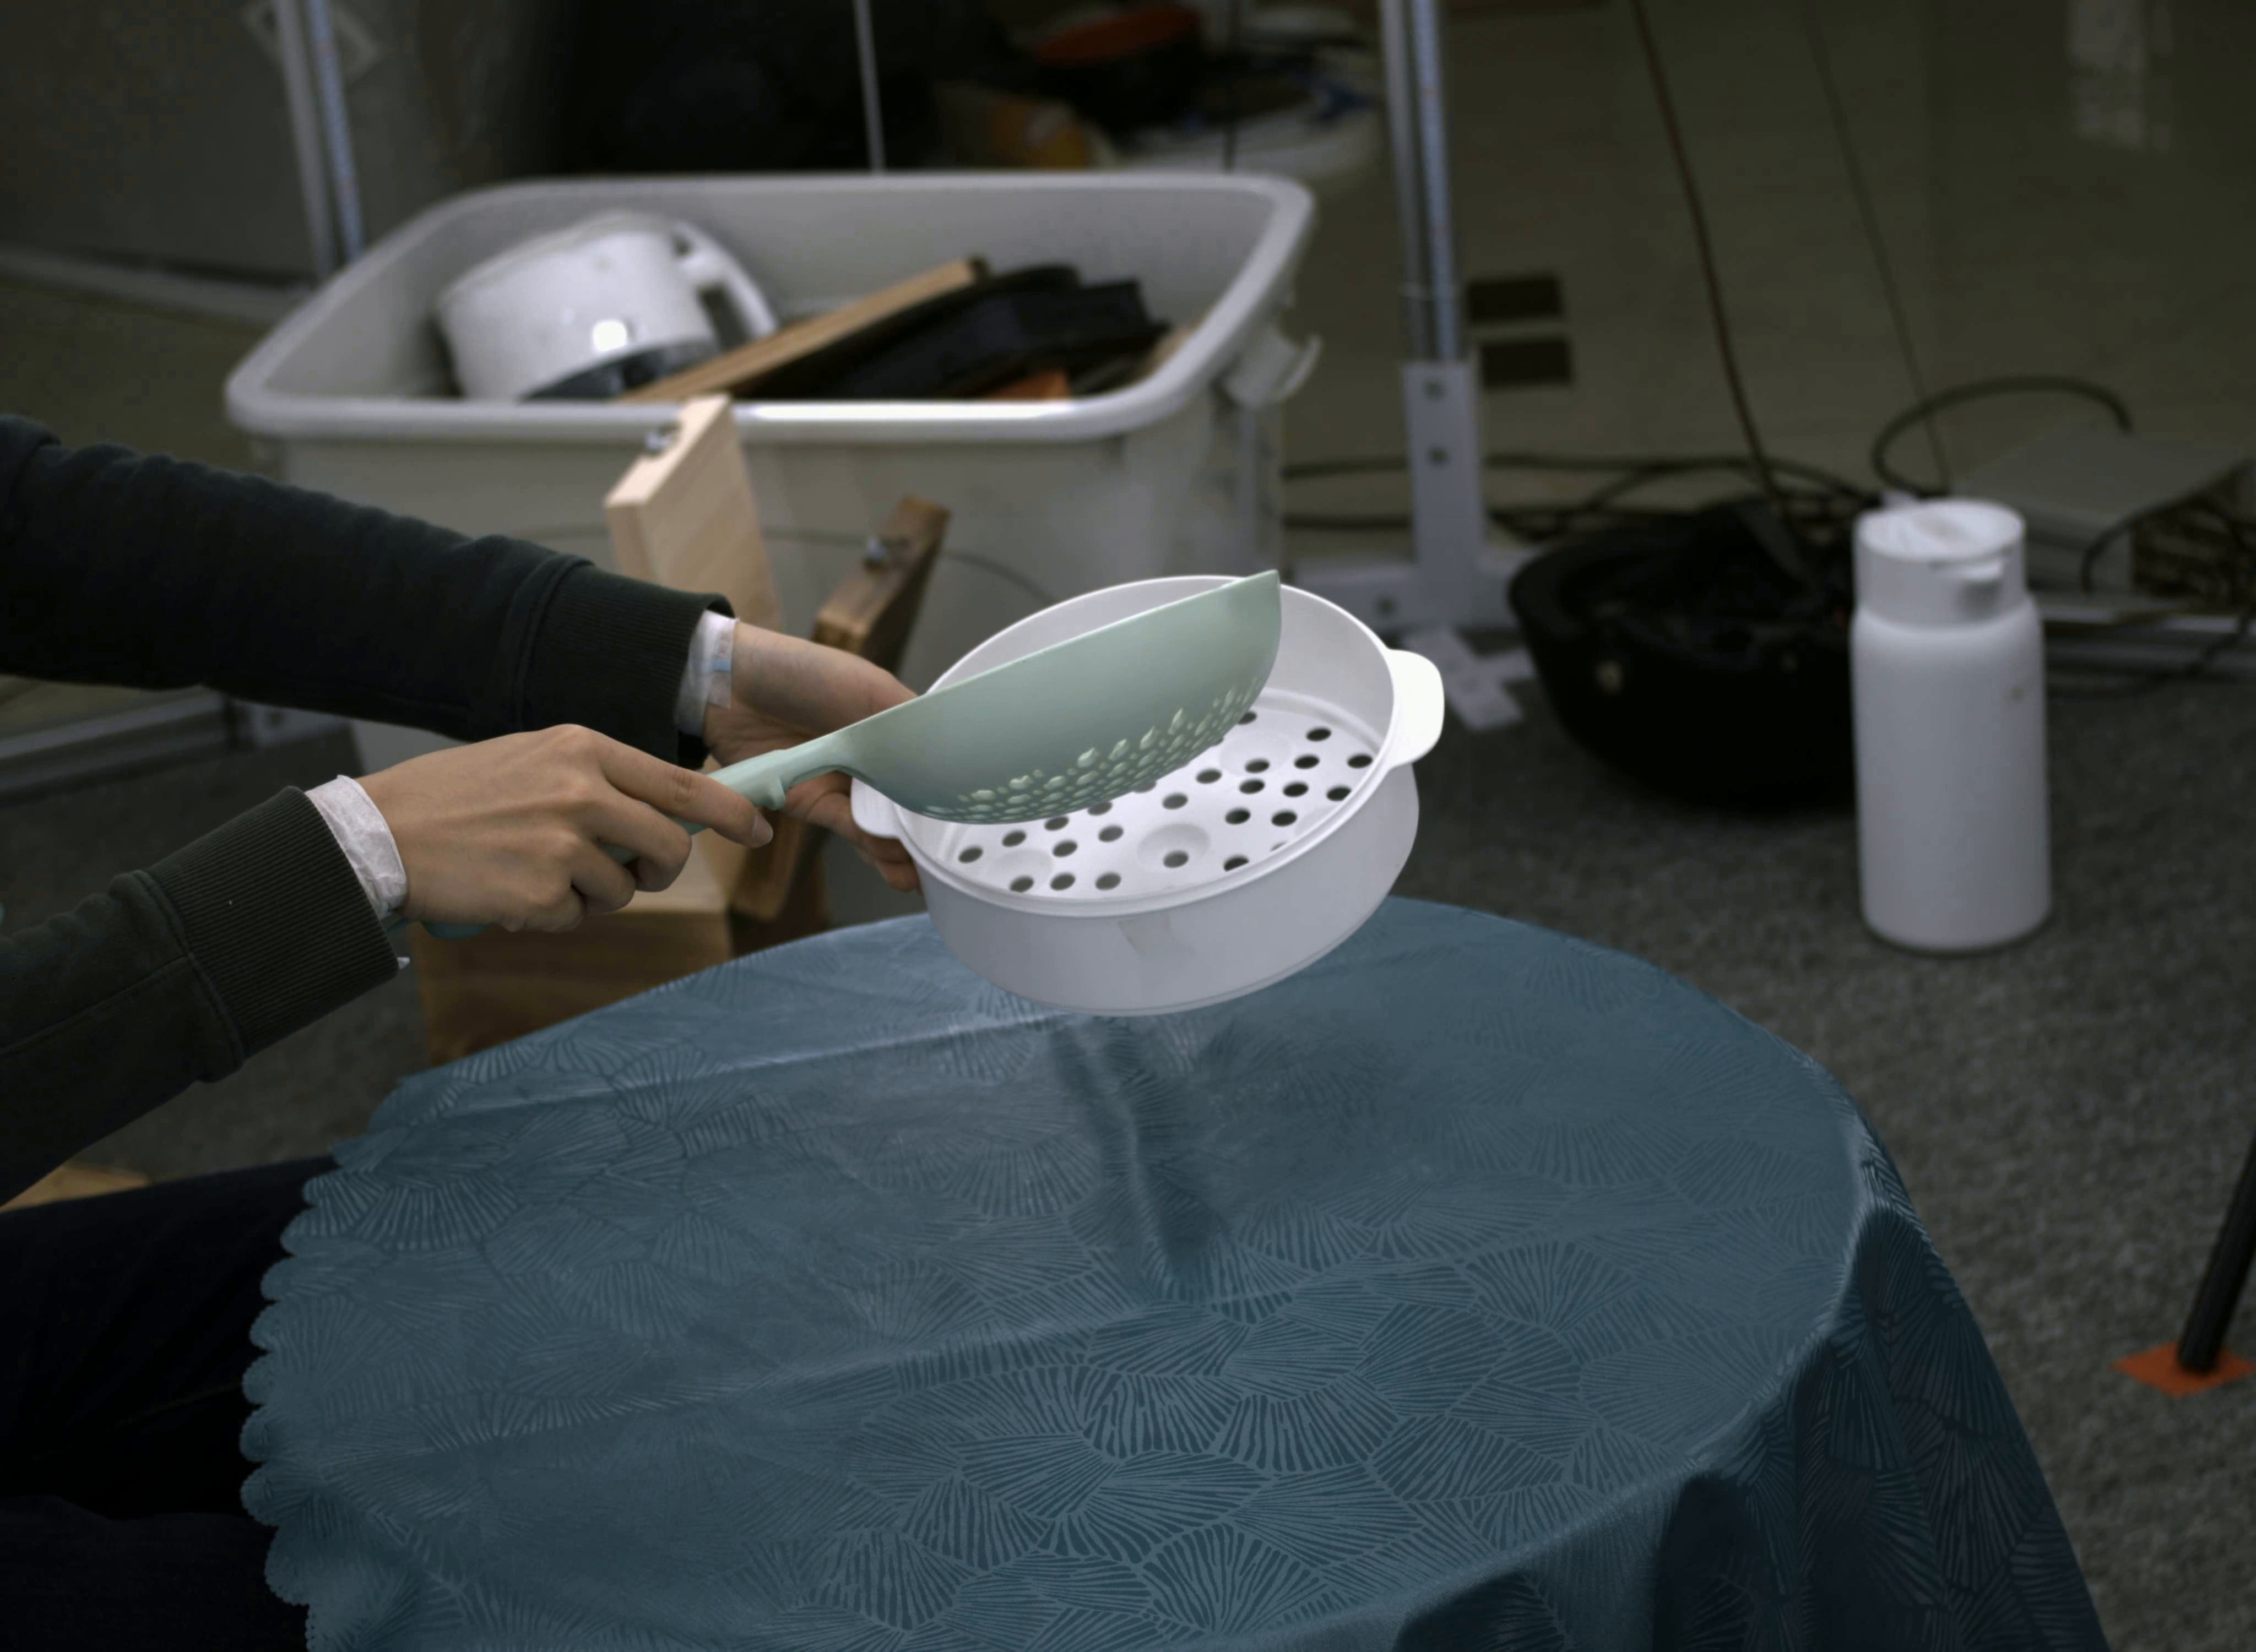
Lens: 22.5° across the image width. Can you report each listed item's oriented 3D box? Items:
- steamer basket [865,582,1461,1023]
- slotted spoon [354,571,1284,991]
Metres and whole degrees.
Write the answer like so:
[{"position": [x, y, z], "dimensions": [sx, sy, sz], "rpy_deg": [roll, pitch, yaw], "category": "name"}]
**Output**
[{"position": [0.018, -0.009, 2.163], "dimensions": [0.230, 0.070, 0.198], "rpy_deg": [-8, 38, 8], "category": "steamer basket"}, {"position": [-0.109, -0.017, 2.025], "dimensions": [0.358, 0.075, 0.170], "rpy_deg": [-13, -2, -14], "category": "slotted spoon"}]
